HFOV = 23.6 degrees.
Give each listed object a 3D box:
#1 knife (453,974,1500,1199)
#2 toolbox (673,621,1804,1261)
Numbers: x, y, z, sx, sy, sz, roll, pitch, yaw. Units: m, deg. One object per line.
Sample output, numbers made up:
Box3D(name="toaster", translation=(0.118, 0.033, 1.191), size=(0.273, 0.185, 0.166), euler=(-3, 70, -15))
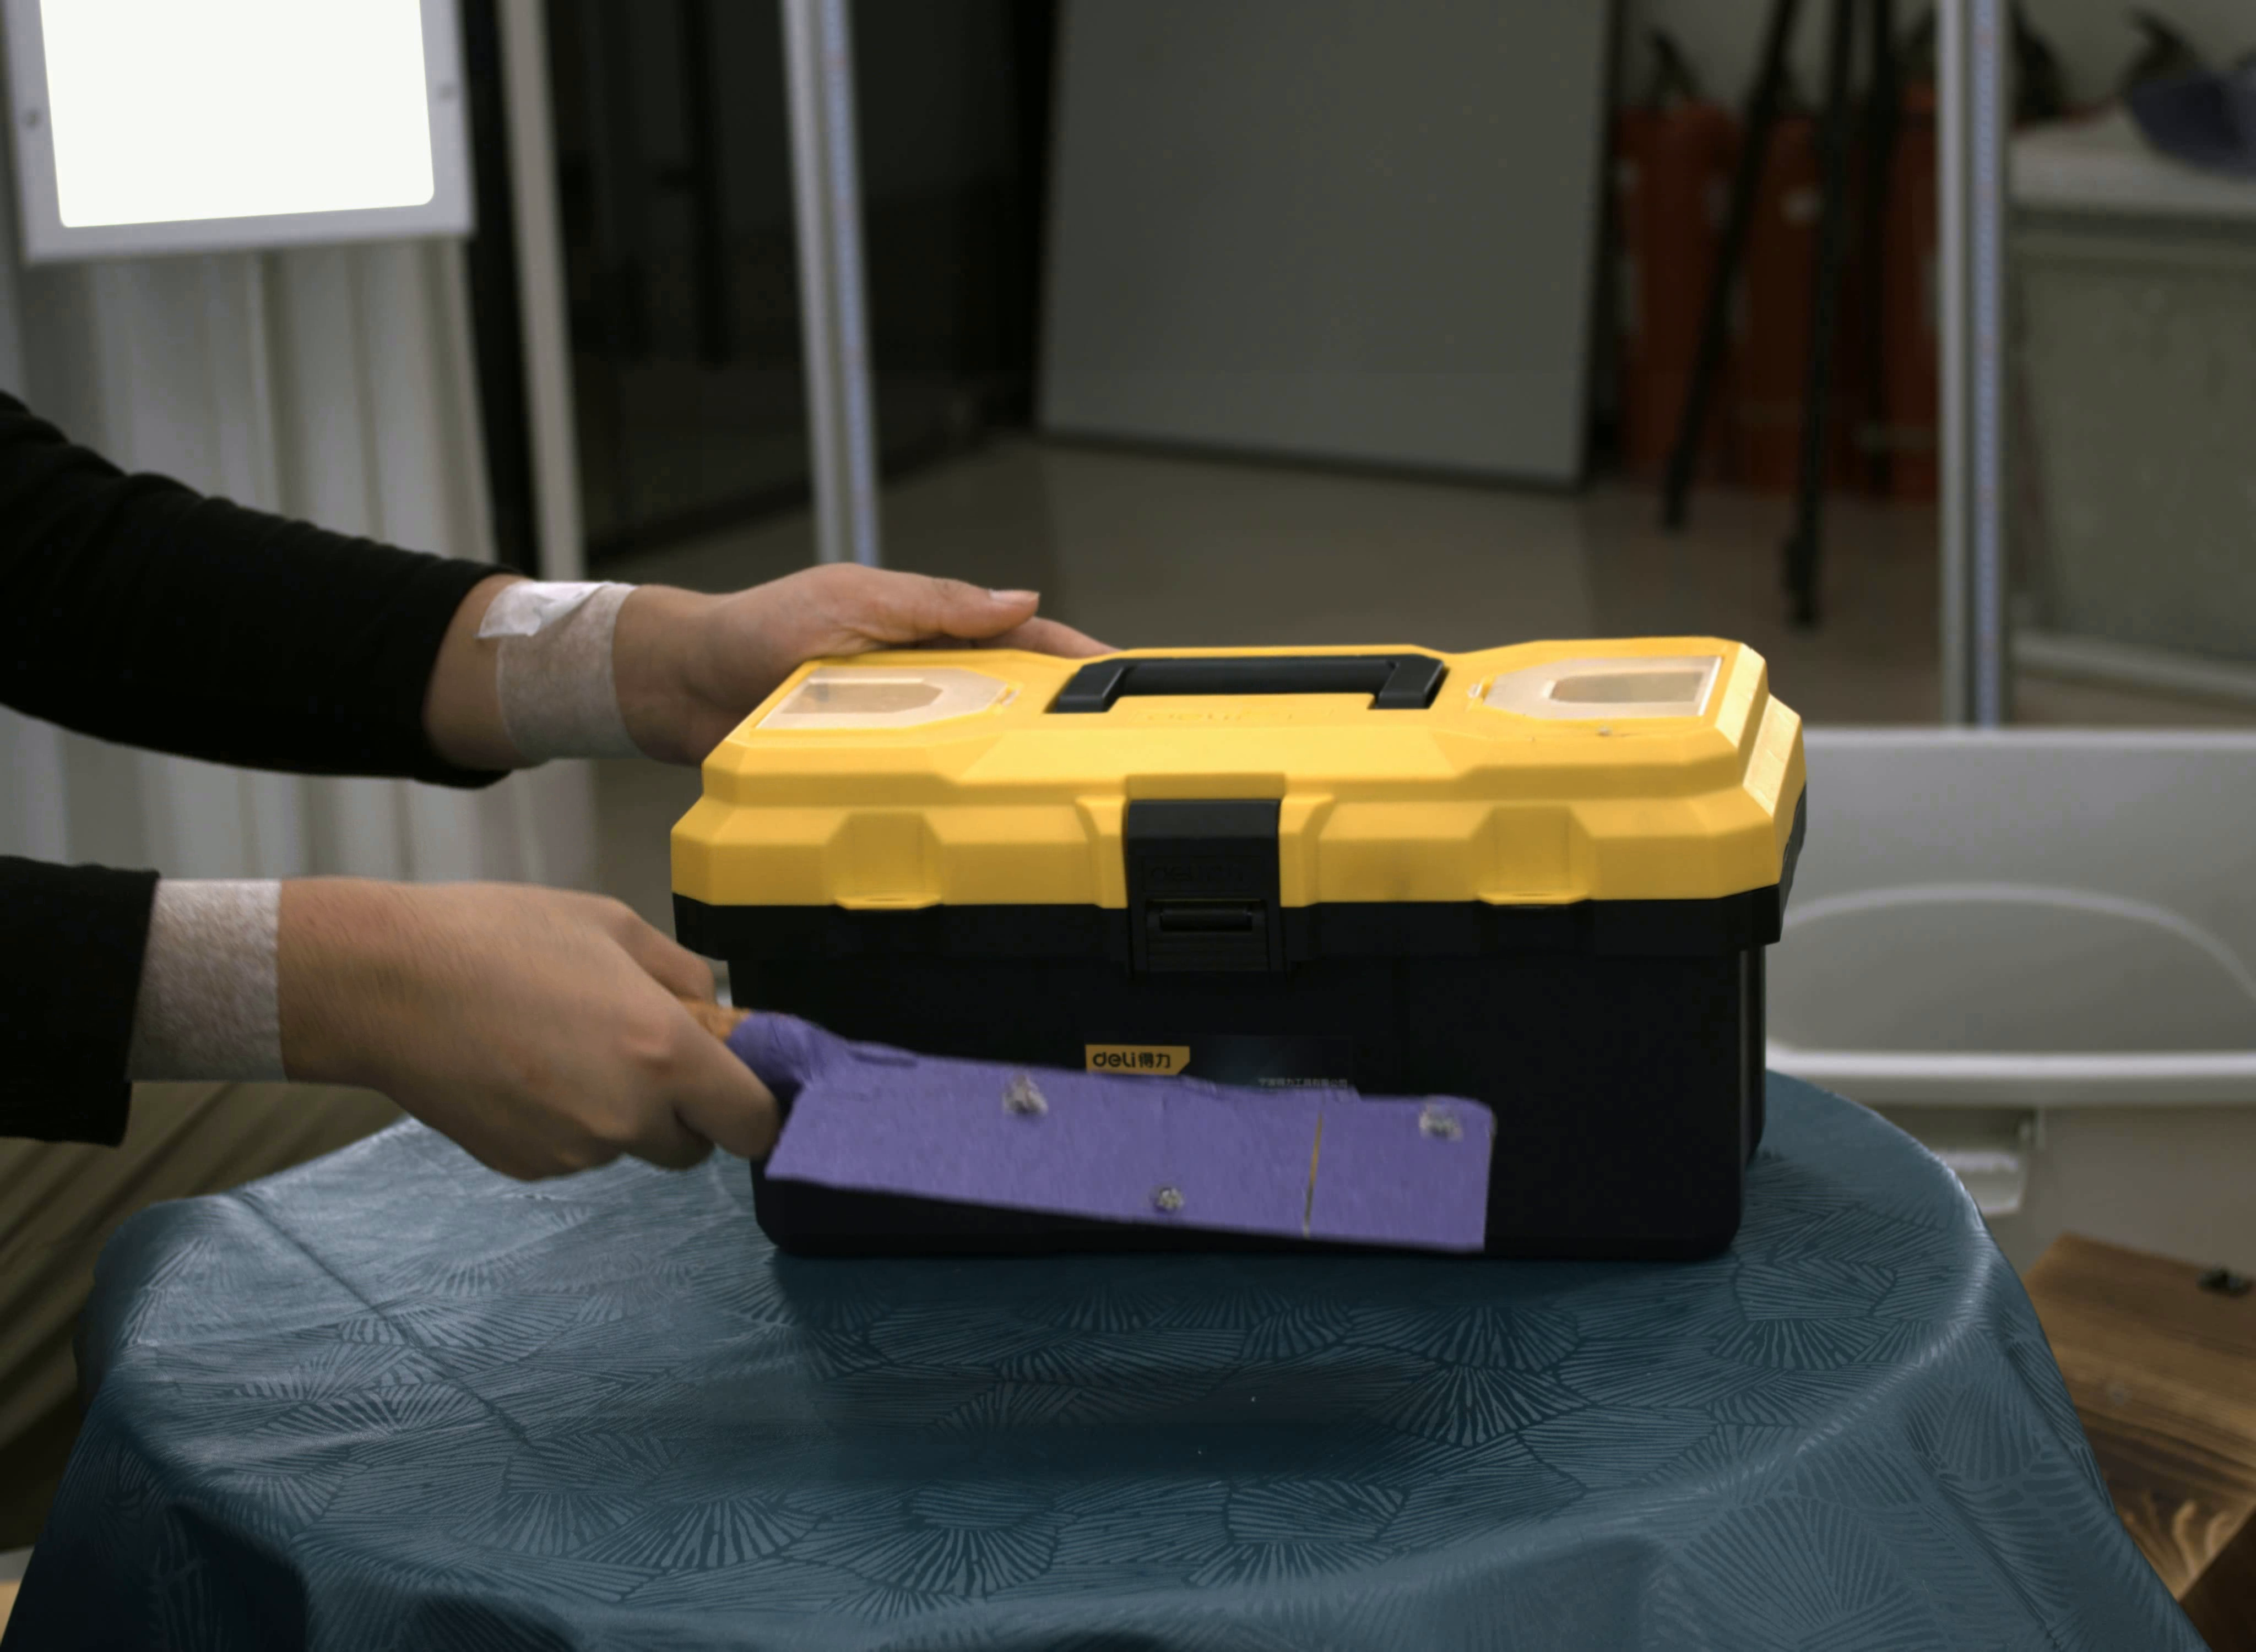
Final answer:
Box3D(name="knife", translation=(-0.048, 0.076, 1.561), size=(0.312, 0.032, 0.104), euler=(2, 21, 7))
Box3D(name="toolbox", translation=(0.041, 0.038, 1.731), size=(0.349, 0.175, 0.180), euler=(-1, 13, 13))
